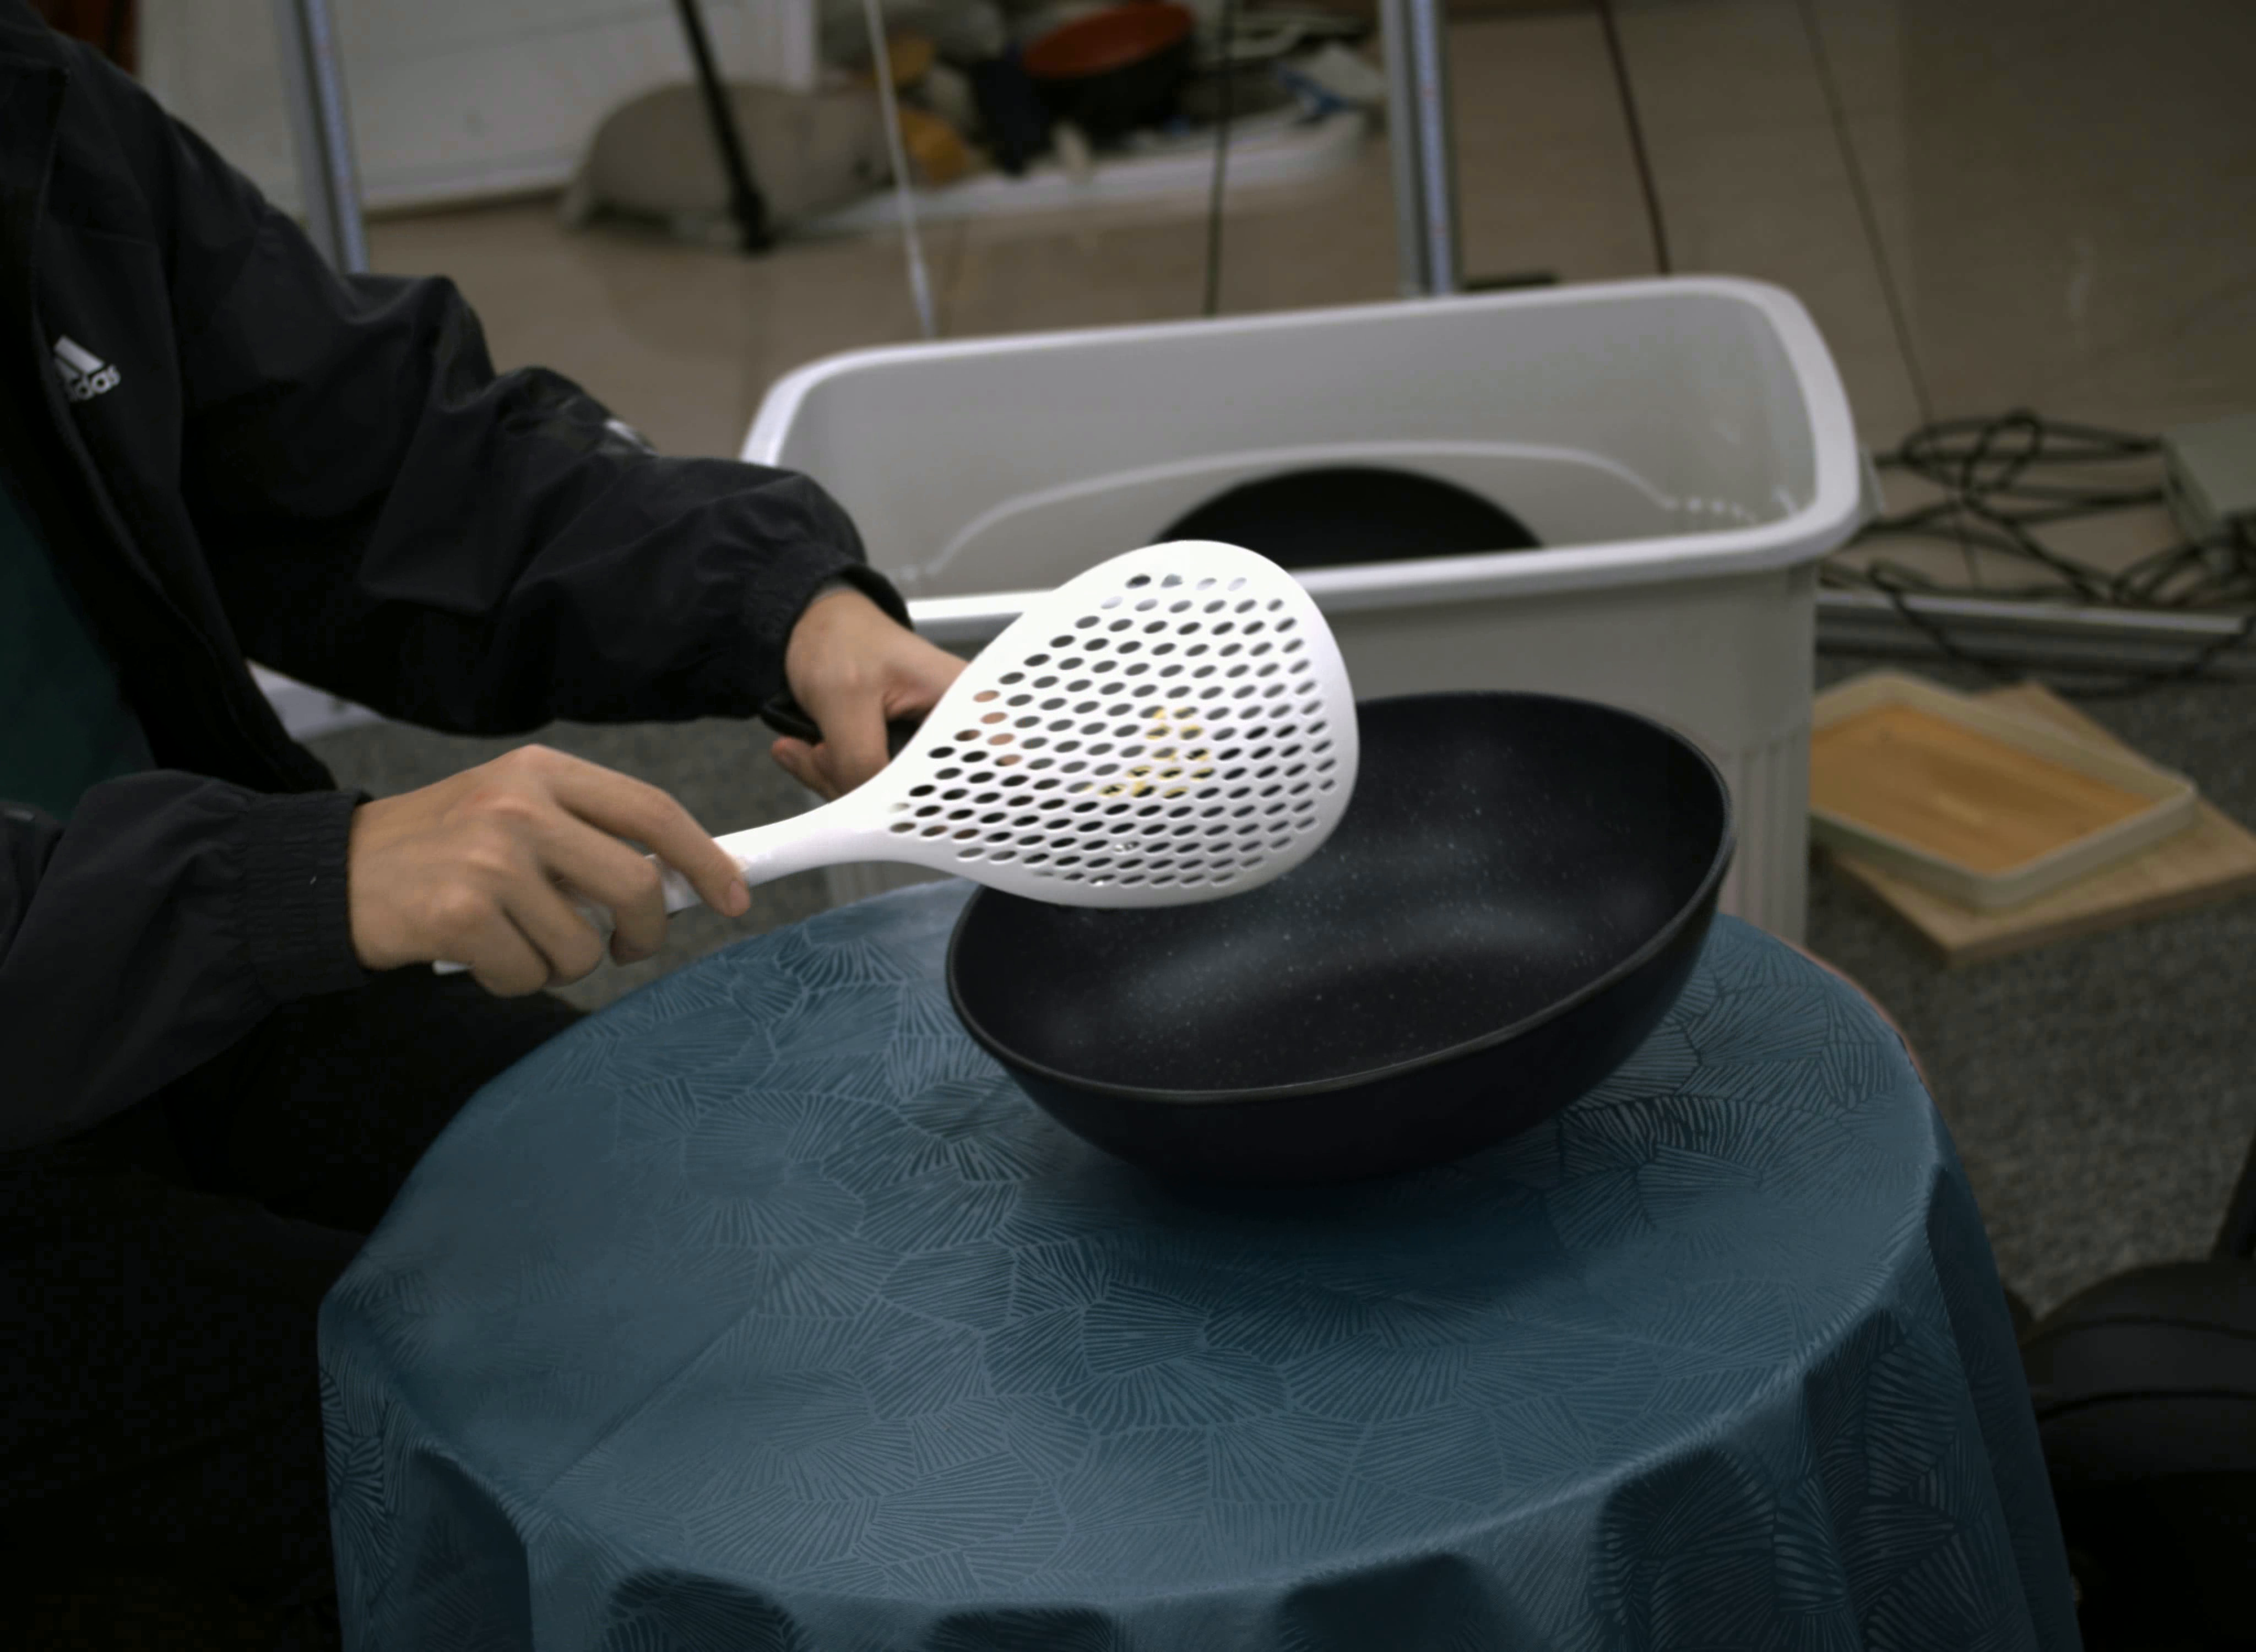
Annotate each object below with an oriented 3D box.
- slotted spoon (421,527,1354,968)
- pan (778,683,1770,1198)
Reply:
[{"bbox_3d":[-0.086,-0.003,2.049,0.347,0.138,0.050,-17,17,0],"label":"slotted spoon"},{"bbox_3d":[0.036,0.035,2.227,0.474,0.113,0.307,15,37,43],"label":"pan"}]
